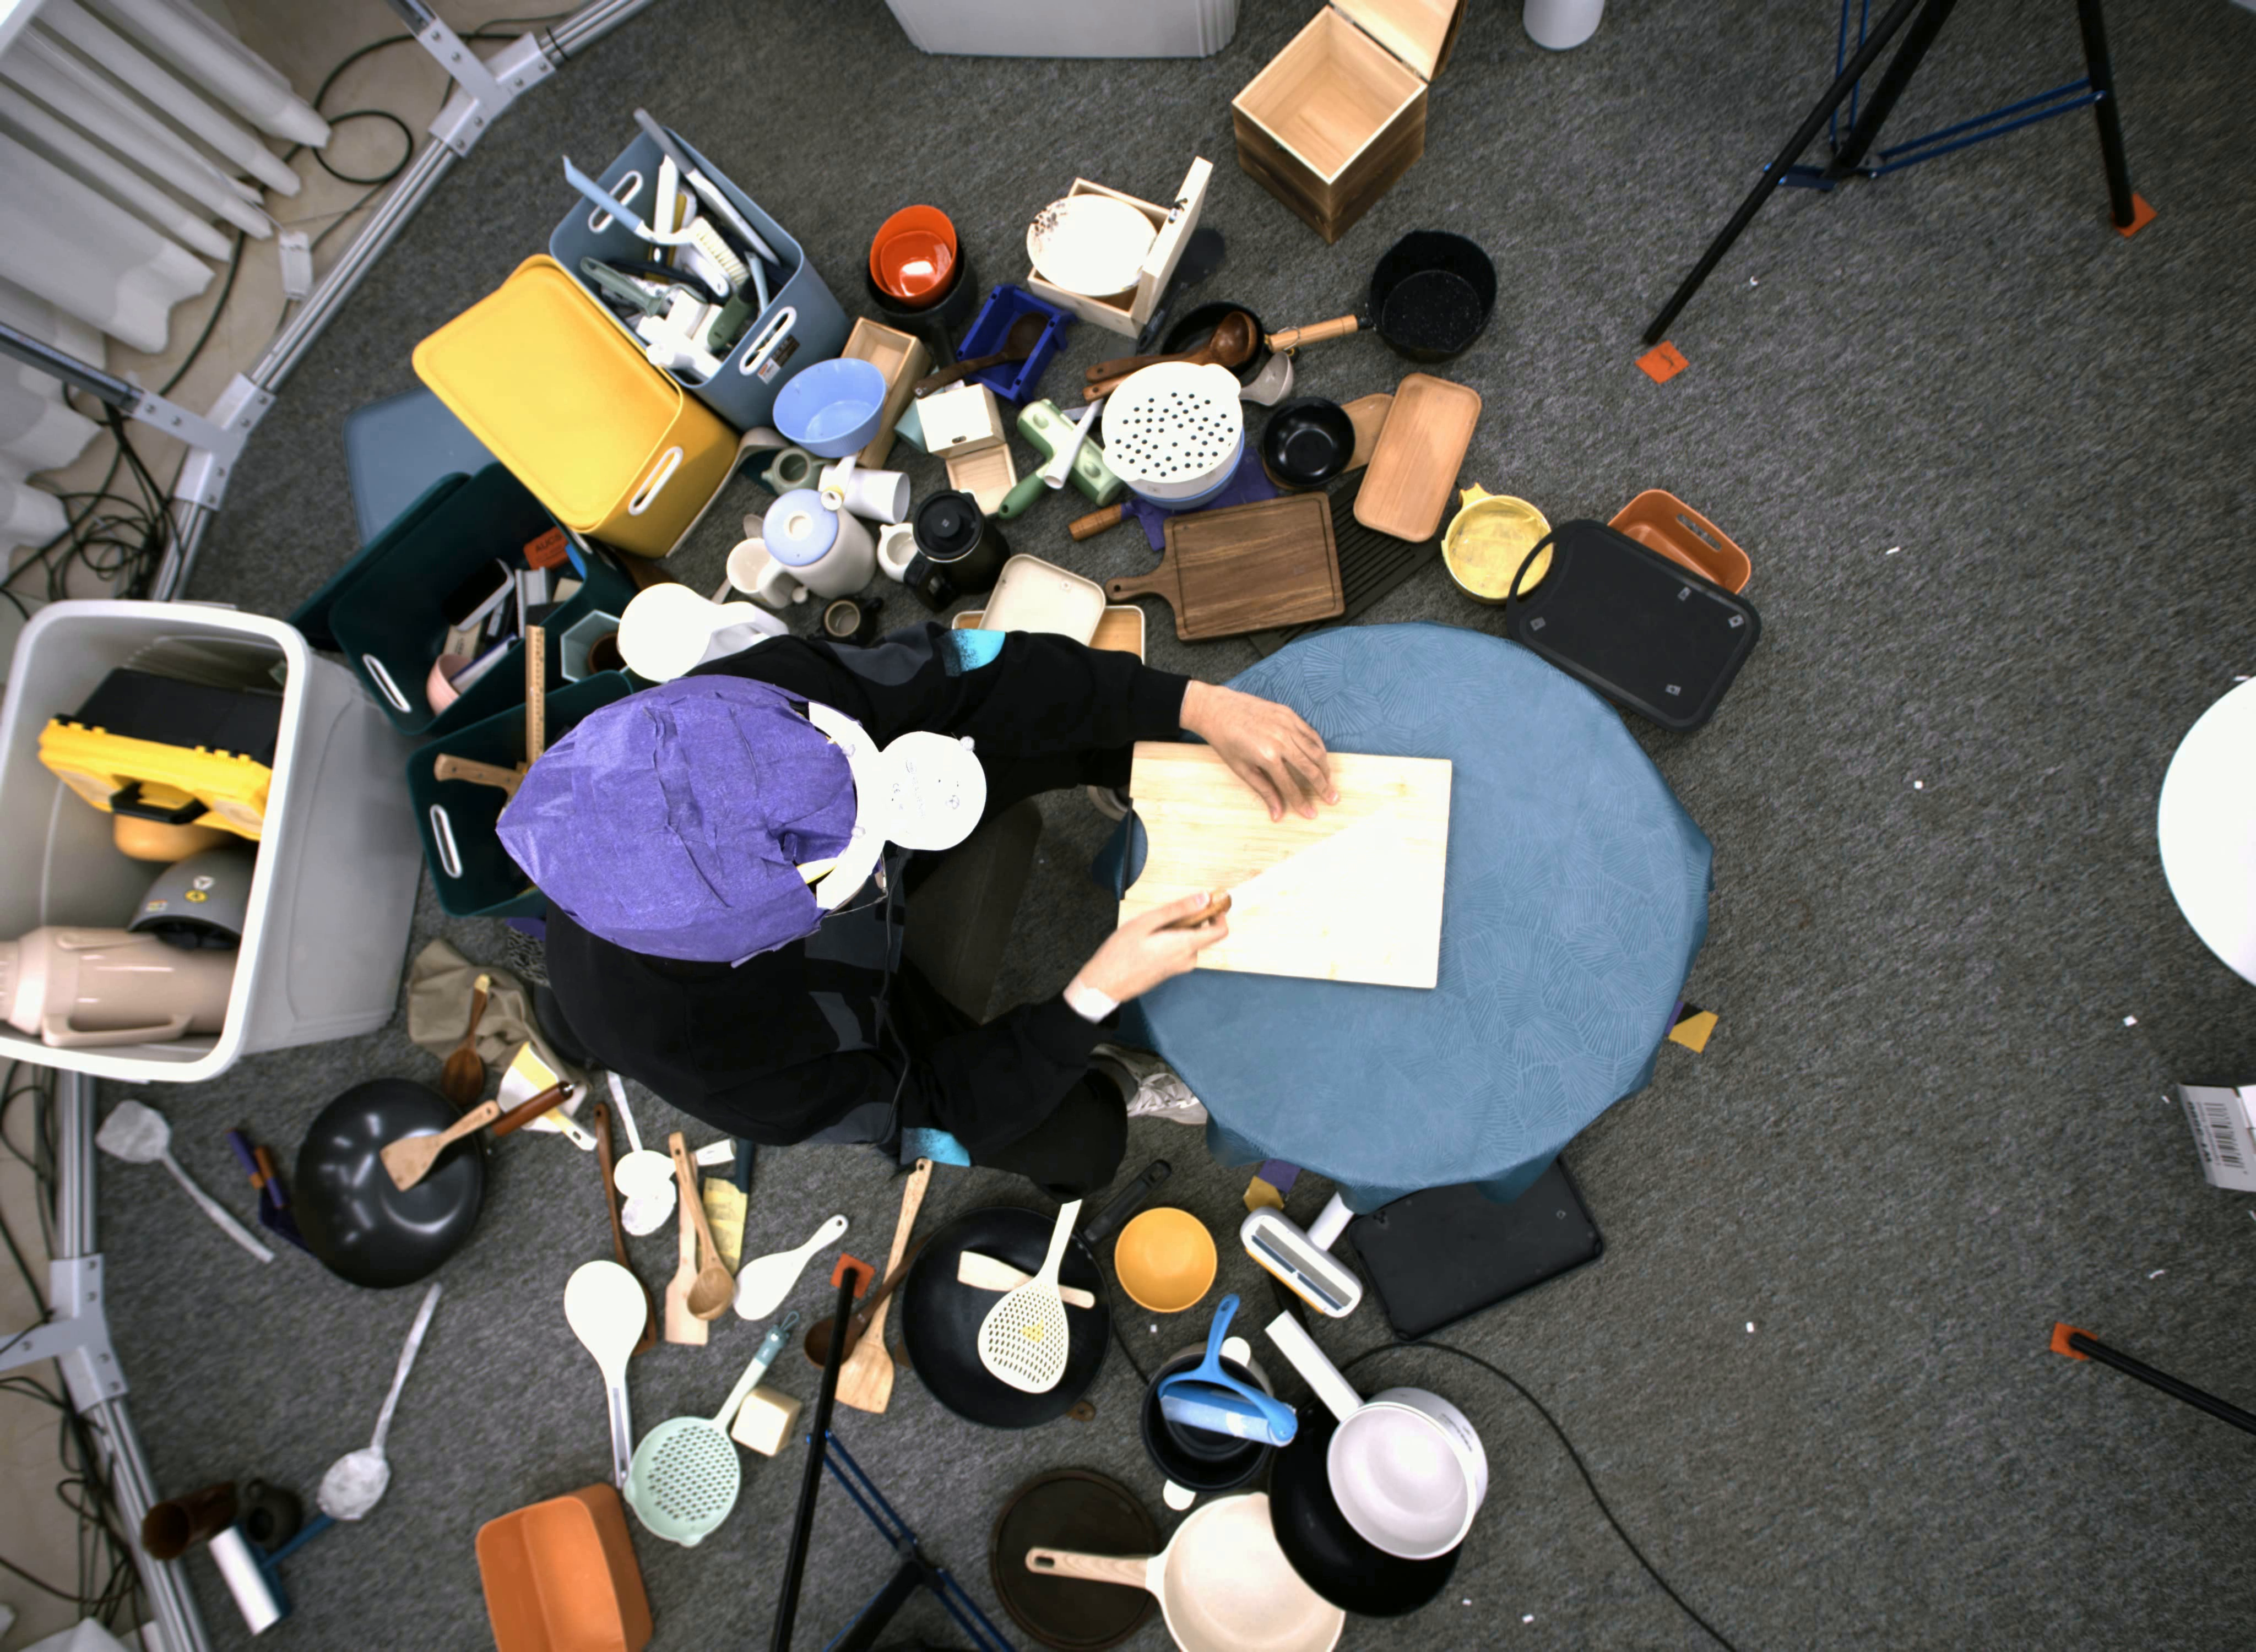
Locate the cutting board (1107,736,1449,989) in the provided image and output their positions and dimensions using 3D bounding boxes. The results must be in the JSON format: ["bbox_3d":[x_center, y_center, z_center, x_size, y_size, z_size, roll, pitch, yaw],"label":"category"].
[{"bbox_3d":[0.158,0.035,1.474,0.350,0.023,0.250,3,87,11],"label":"cutting board"}]

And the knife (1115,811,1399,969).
[{"bbox_3d":[0.131,0.066,1.369,0.307,0.093,0.021,-29,71,8],"label":"knife"}]
